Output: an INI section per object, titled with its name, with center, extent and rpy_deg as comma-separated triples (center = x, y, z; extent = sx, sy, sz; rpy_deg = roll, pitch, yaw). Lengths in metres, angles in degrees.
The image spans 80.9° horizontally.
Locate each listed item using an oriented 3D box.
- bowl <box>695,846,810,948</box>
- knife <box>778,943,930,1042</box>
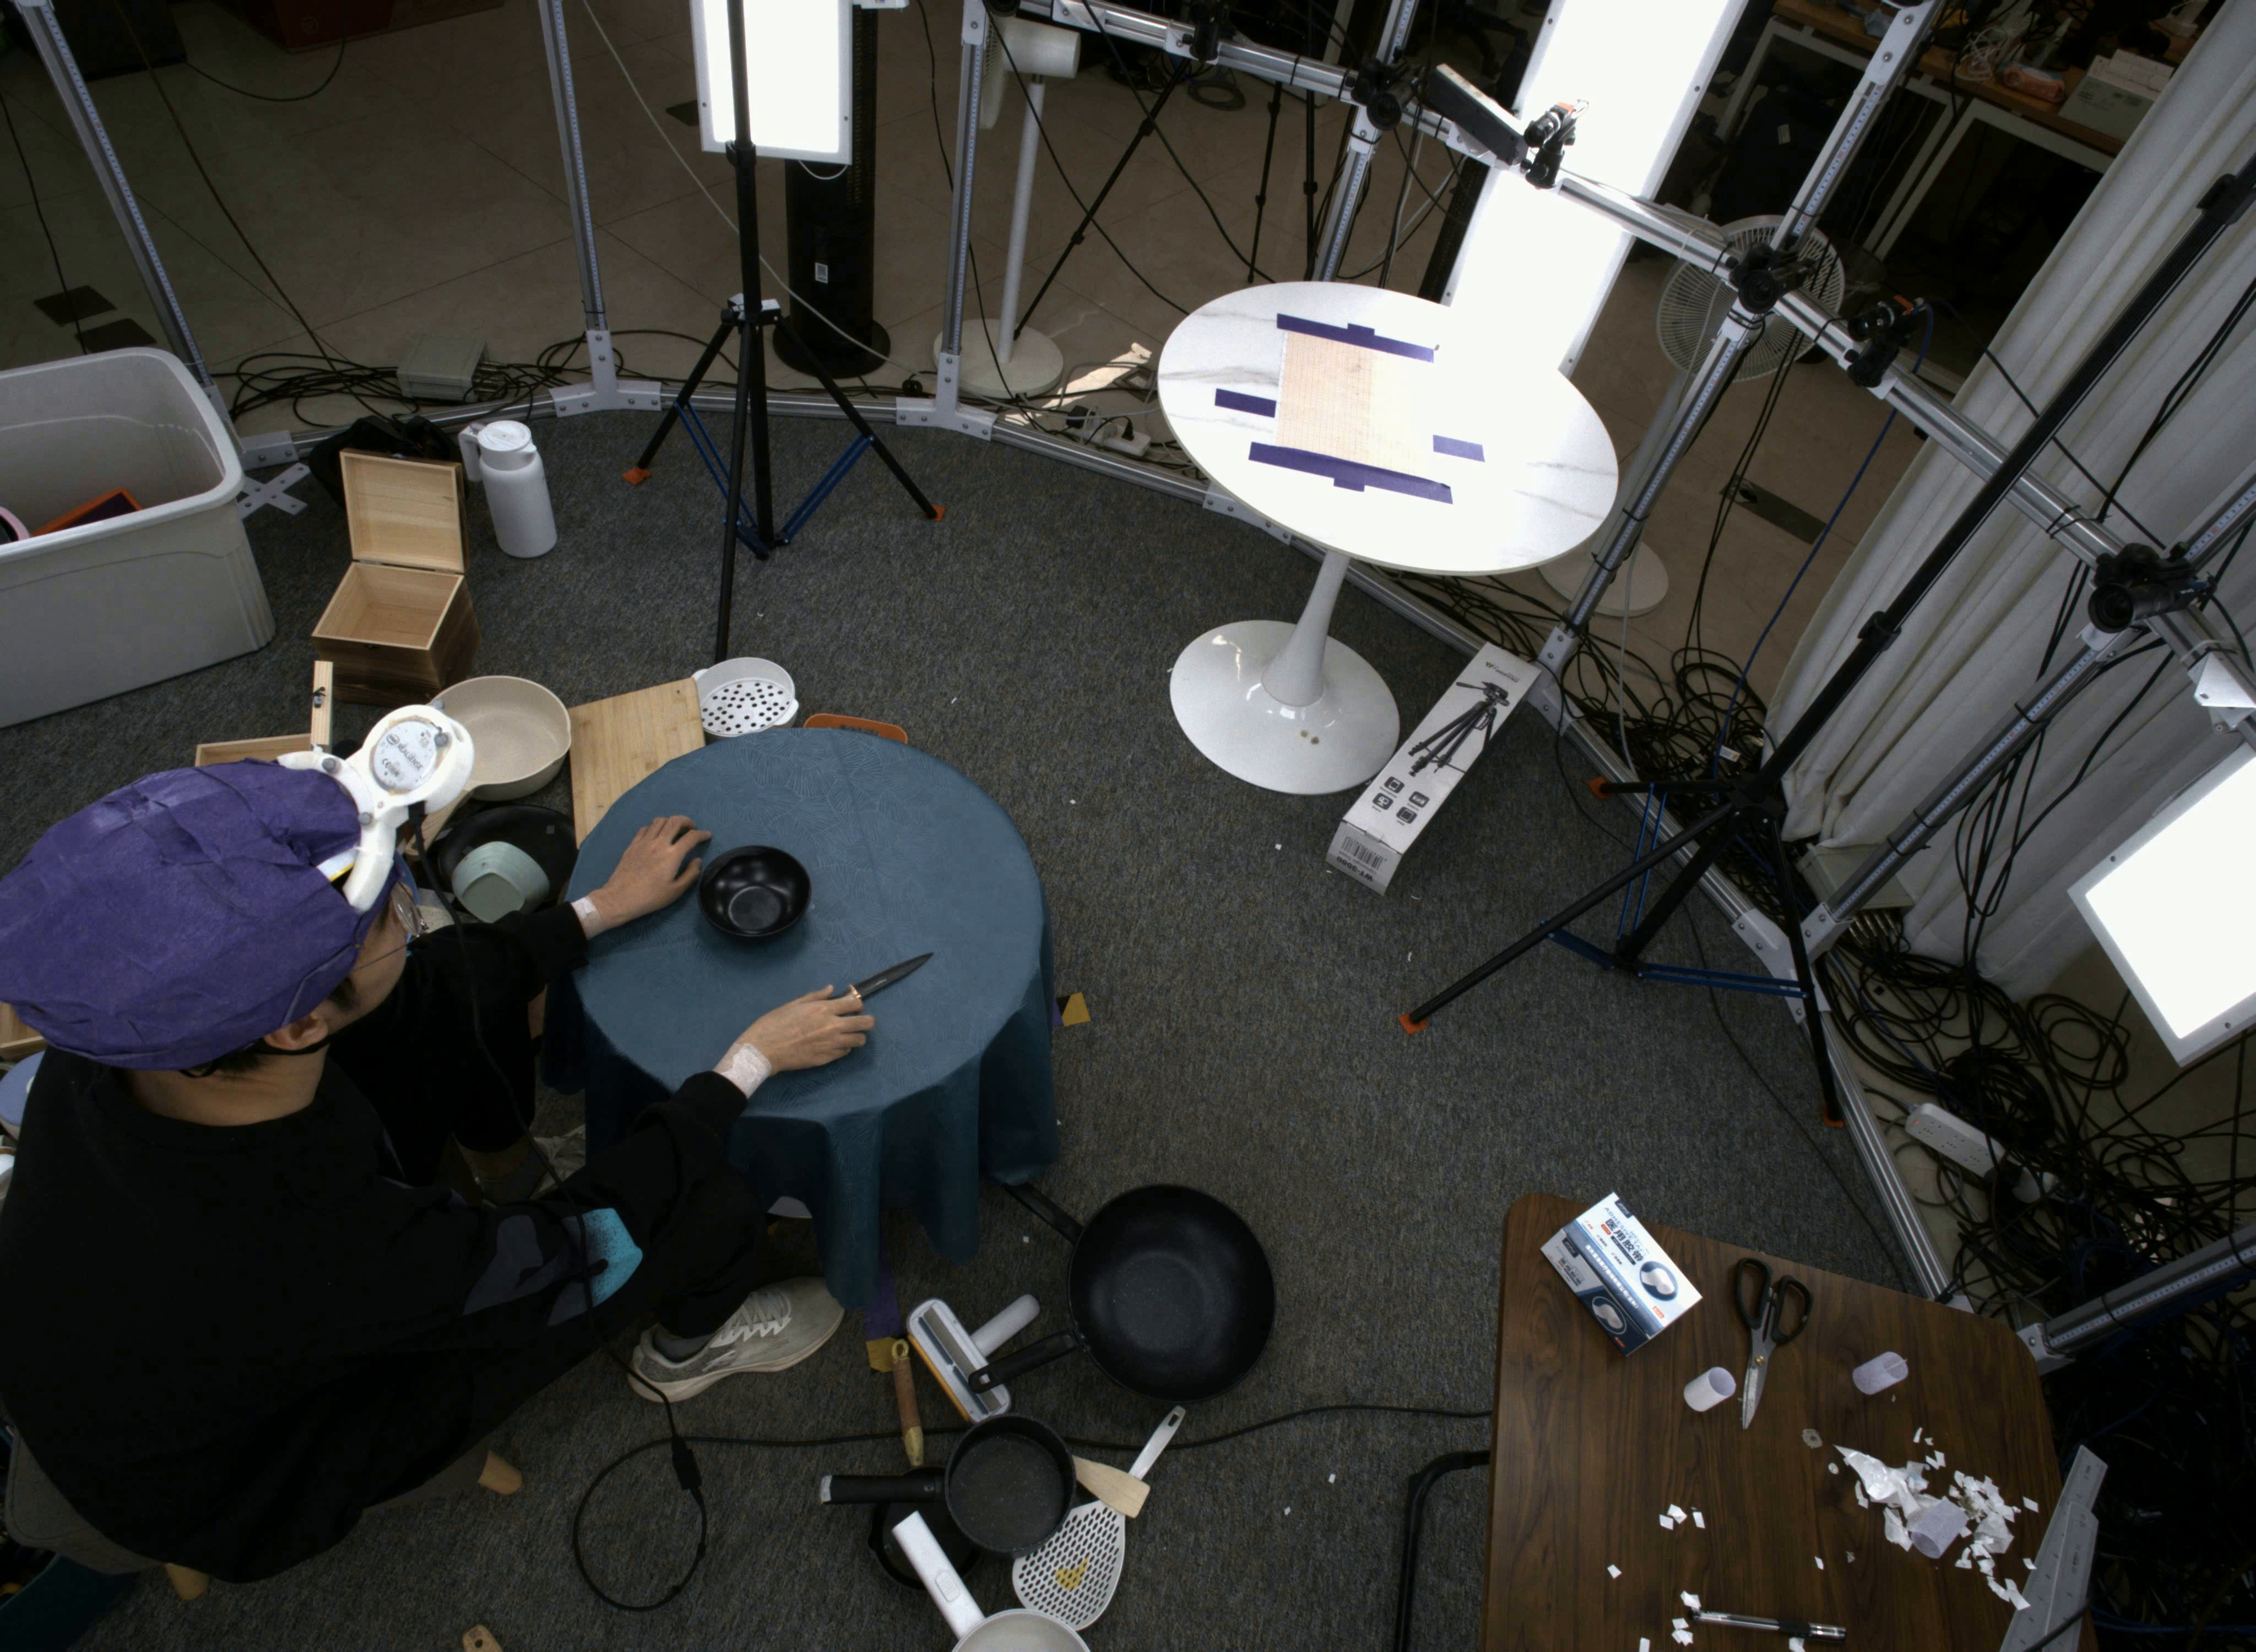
[bowl]
center = -0.464, 0.094, 1.604
extent = 0.139, 0.050, 0.138
rpy_deg = 7, 57, -8
[knife]
center = -0.329, 0.199, 1.583
extent = 0.226, 0.017, 0.025
rpy_deg = -30, 62, -33
